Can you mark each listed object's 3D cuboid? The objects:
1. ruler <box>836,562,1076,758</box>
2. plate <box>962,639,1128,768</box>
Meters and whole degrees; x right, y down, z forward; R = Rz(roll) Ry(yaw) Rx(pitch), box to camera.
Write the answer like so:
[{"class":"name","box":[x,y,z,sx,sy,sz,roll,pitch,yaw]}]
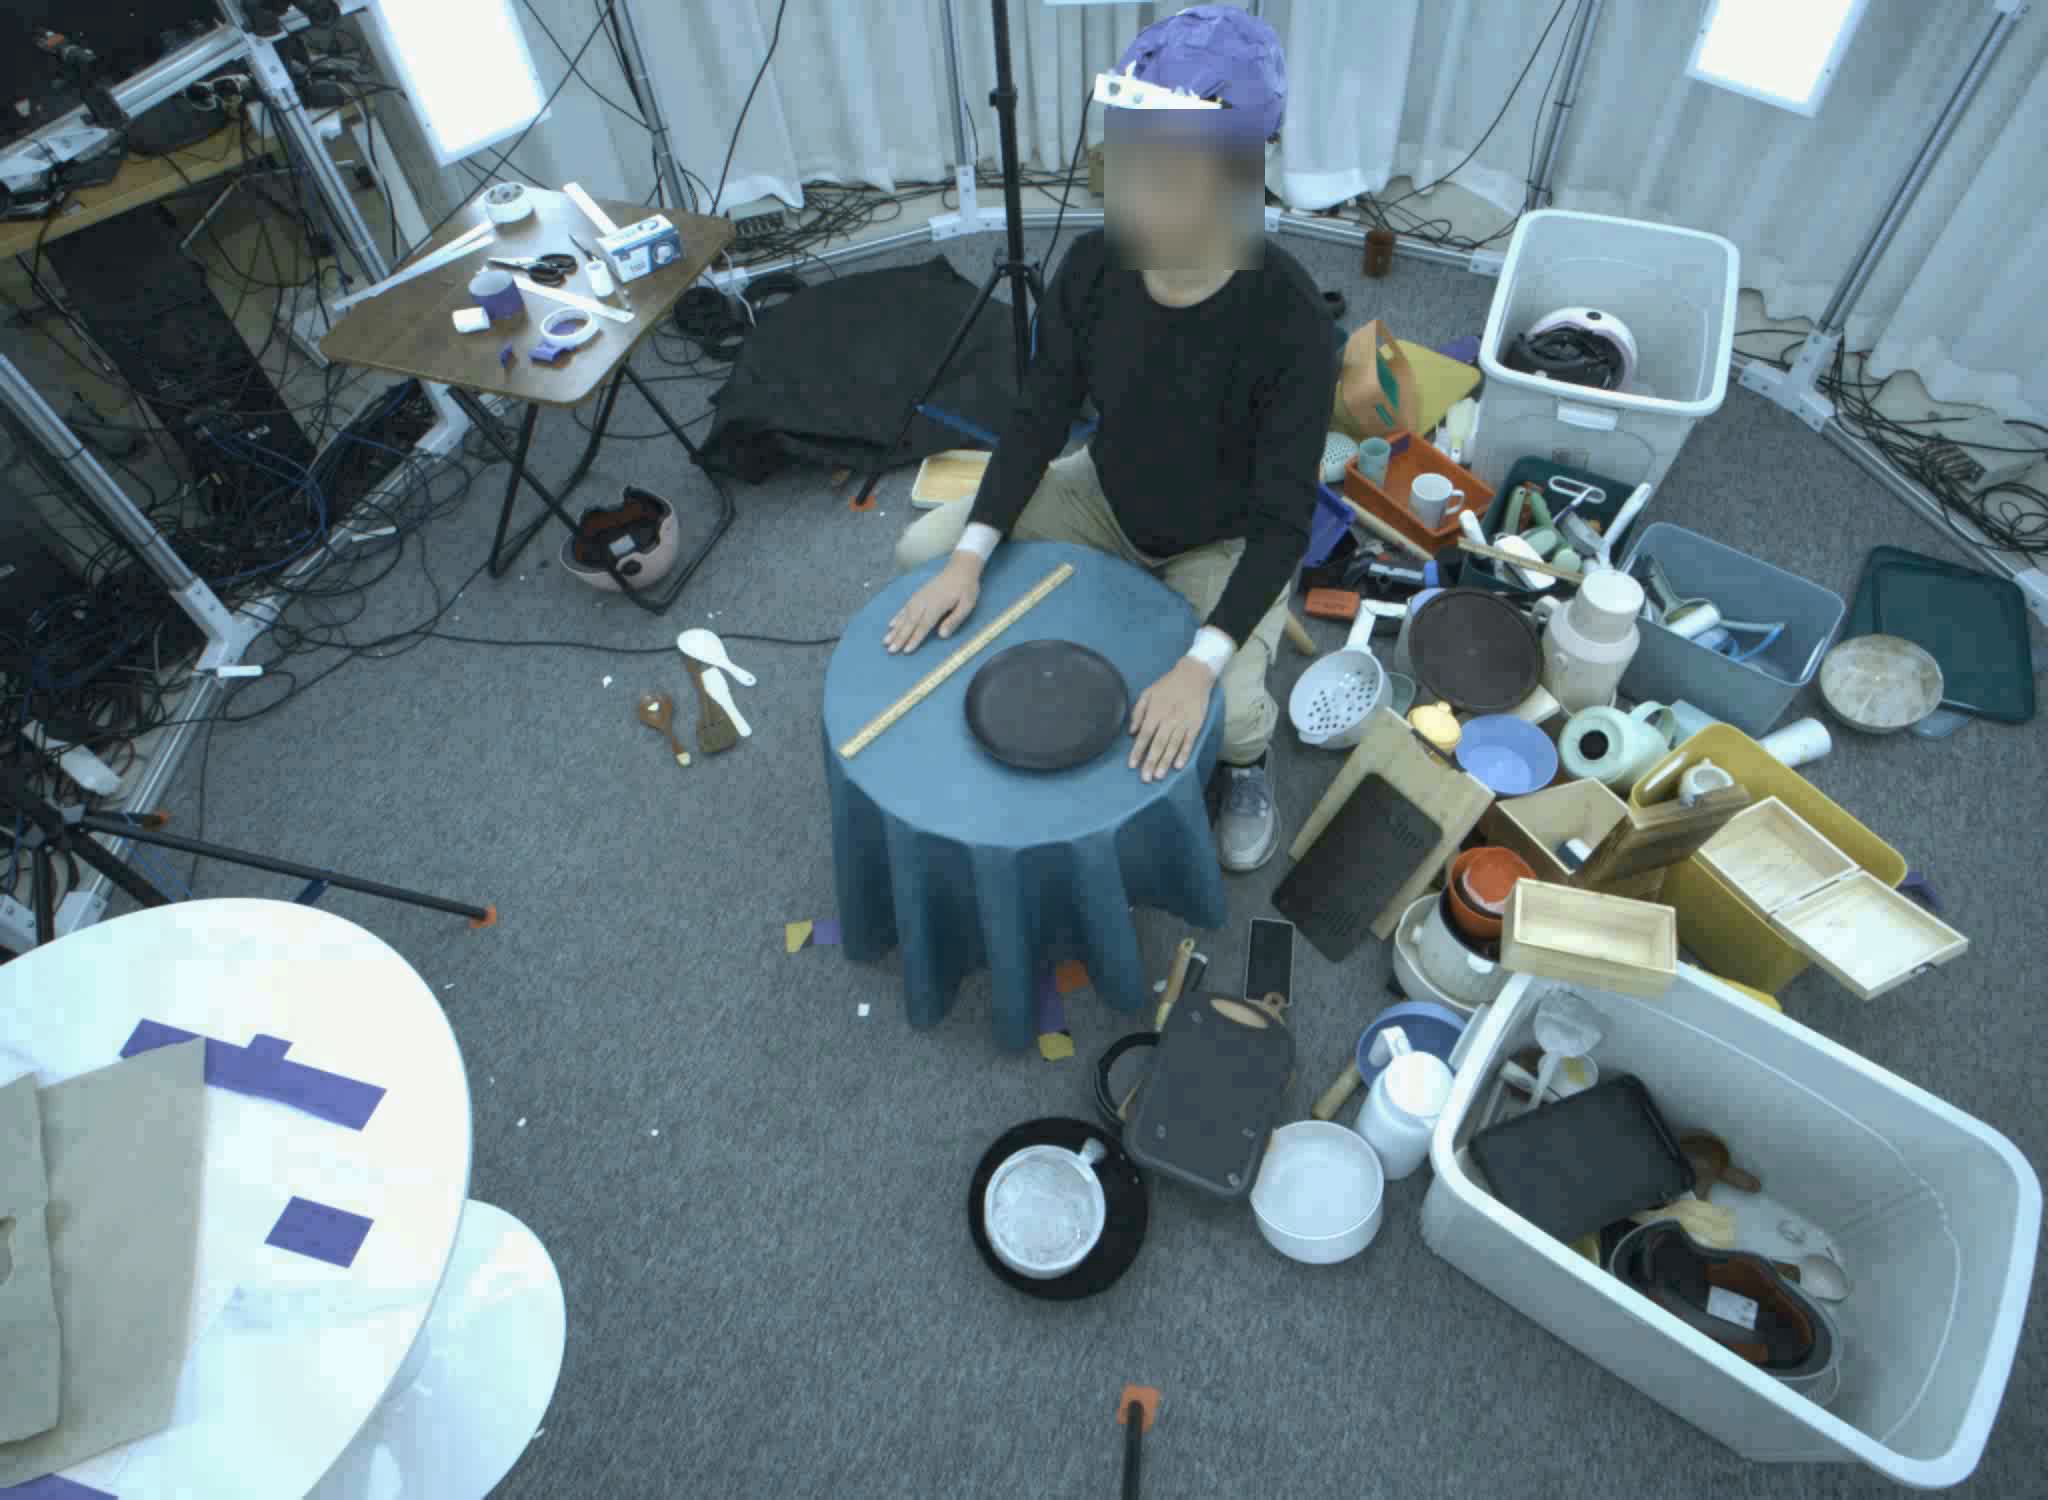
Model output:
[{"class":"ruler","box":[-0.095,-0.146,1.891,0.026,0.006,0.504,38,64,23]},{"class":"plate","box":[0.032,-0.066,1.819,0.244,0.024,0.242,0,55,2]}]
